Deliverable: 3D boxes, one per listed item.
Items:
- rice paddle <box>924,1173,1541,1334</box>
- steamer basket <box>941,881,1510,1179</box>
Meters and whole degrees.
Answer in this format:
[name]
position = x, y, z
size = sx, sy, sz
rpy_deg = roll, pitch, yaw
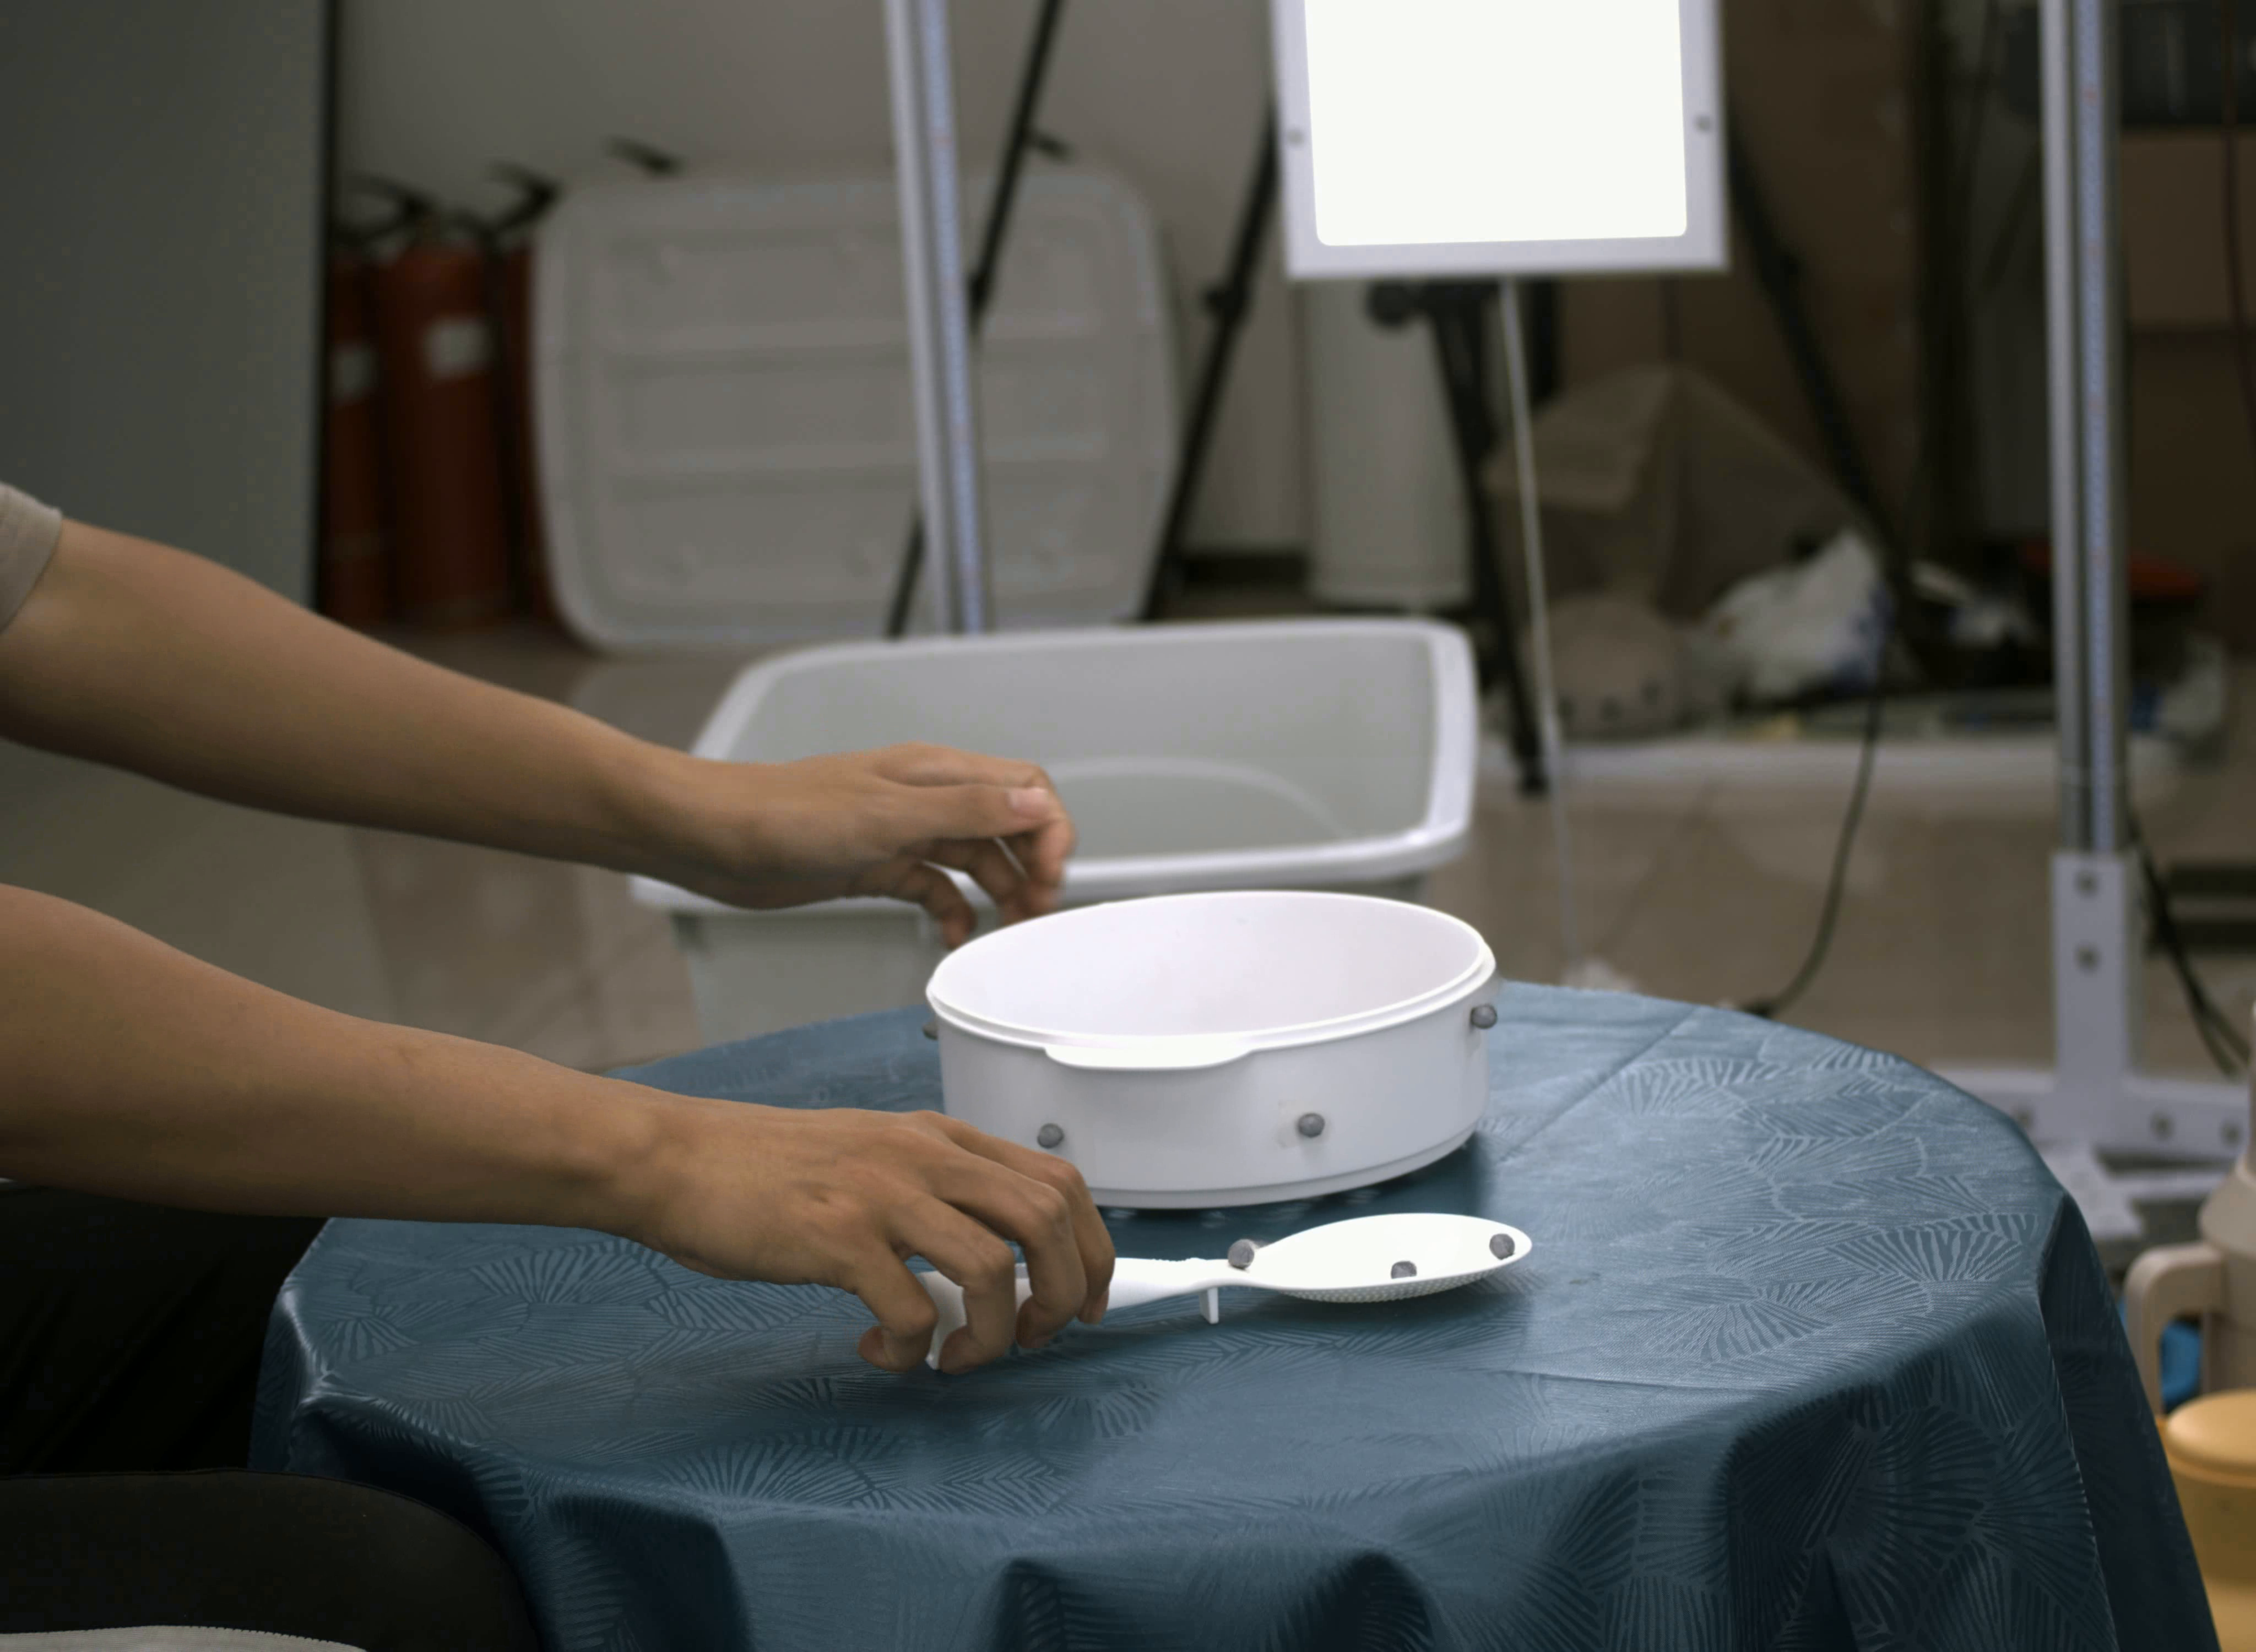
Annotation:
[rice paddle]
position = 0.036, 0.132, 1.770
size = 0.202, 0.029, 0.069
rpy_deg = -8, 15, -13
[steamer basket]
position = 0.036, 0.072, 1.950
size = 0.204, 0.069, 0.227
rpy_deg = -1, 12, 16
